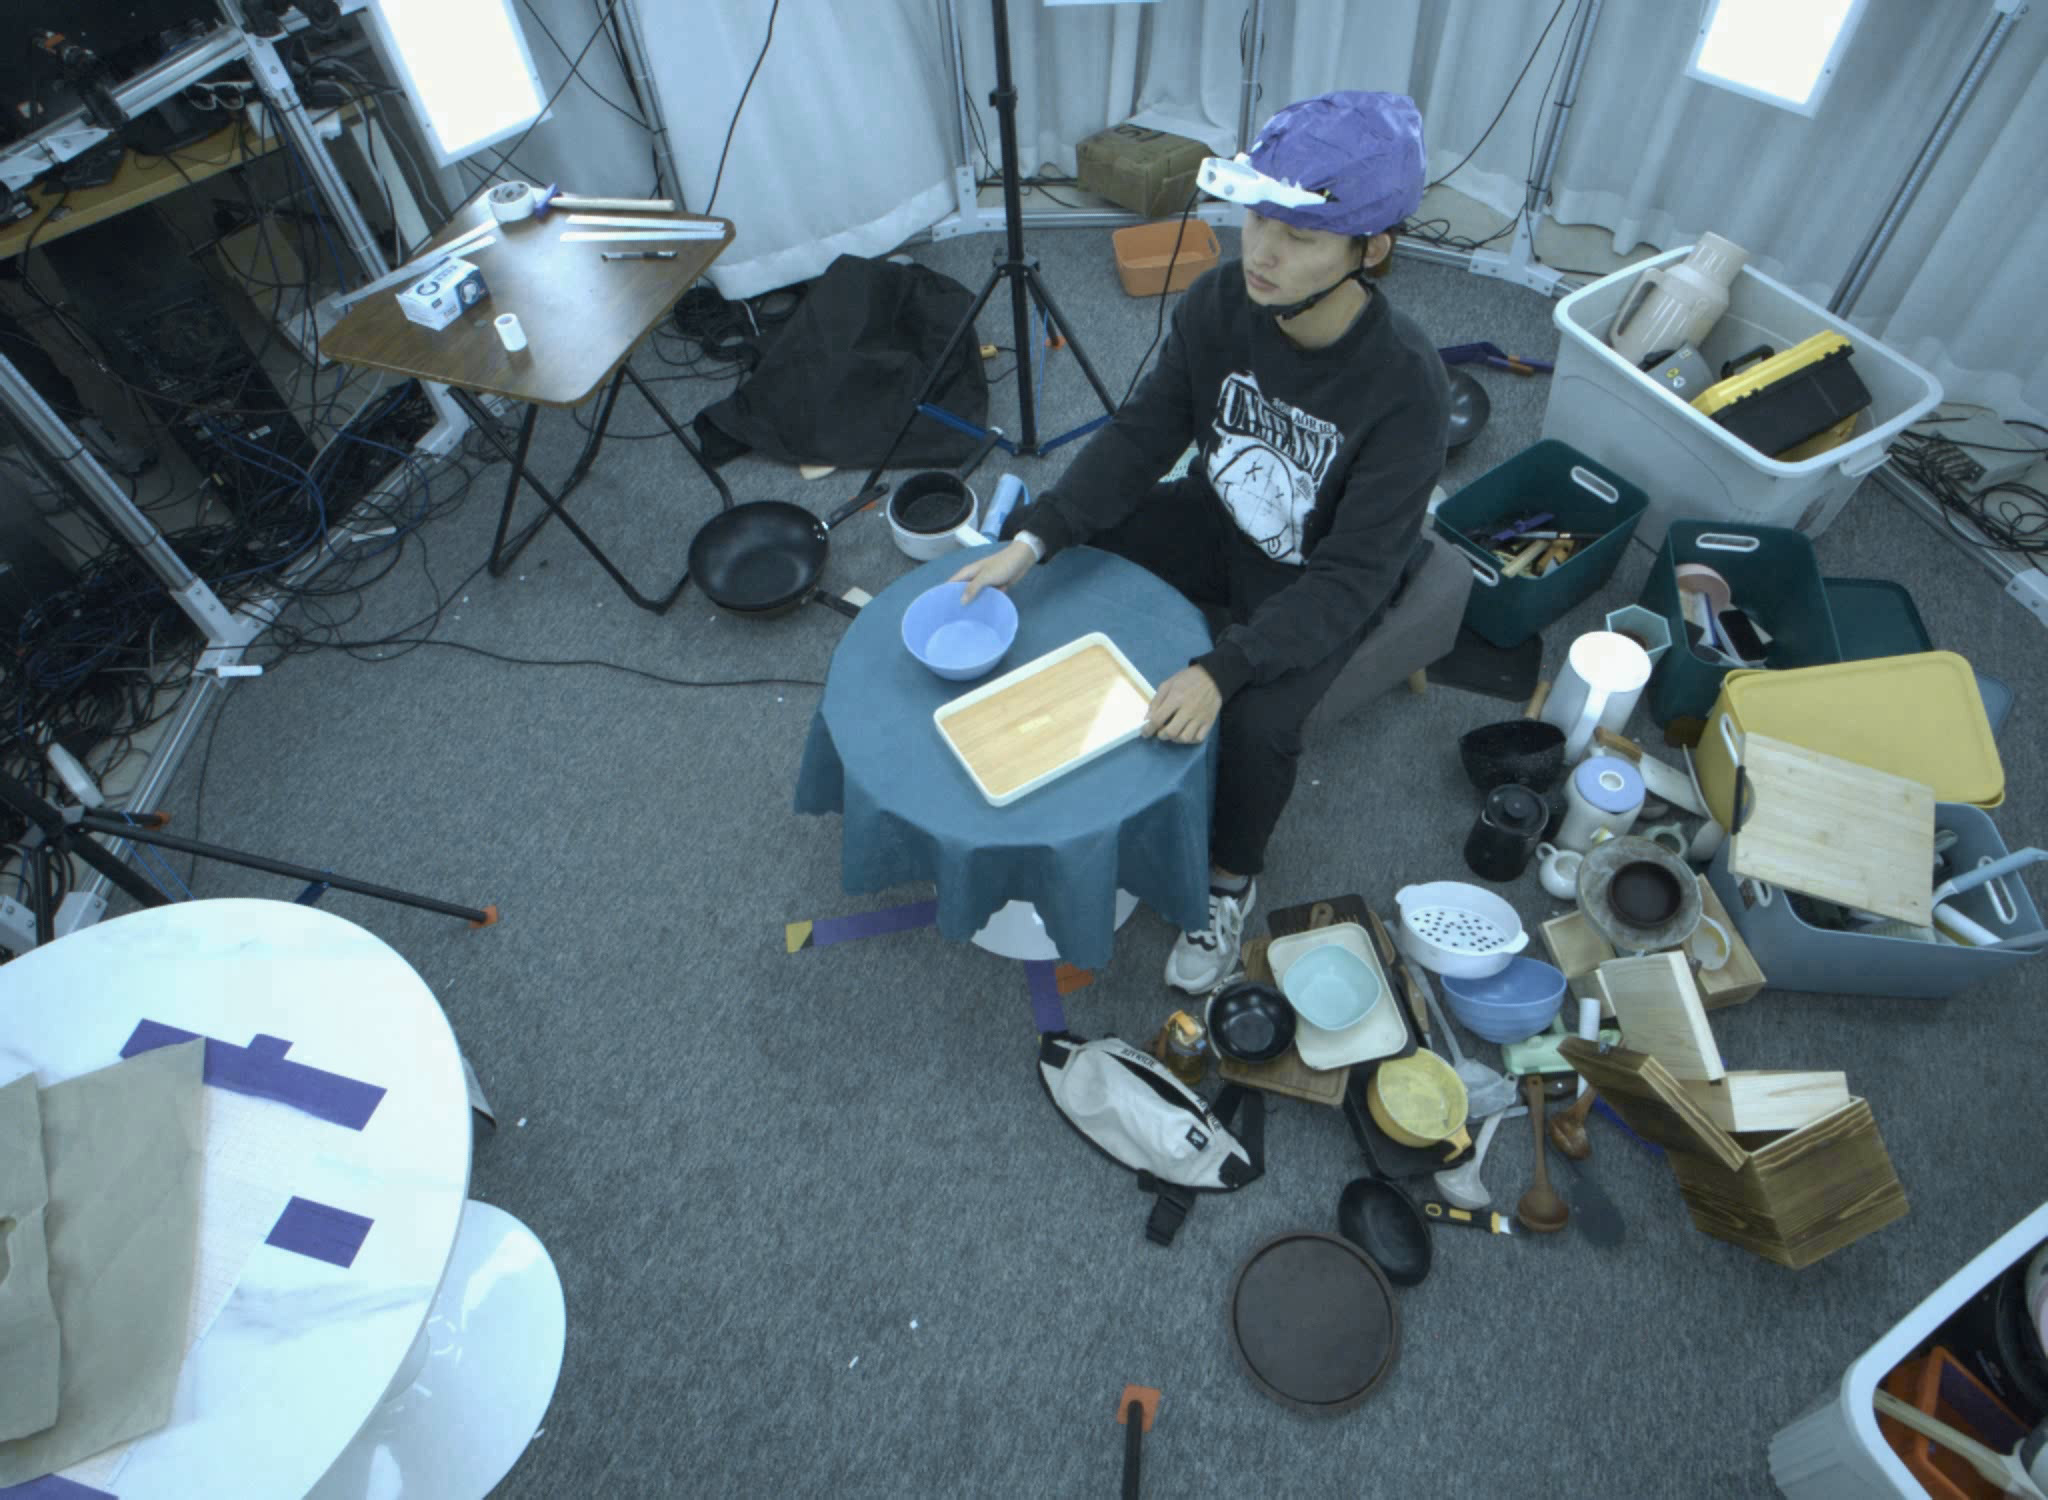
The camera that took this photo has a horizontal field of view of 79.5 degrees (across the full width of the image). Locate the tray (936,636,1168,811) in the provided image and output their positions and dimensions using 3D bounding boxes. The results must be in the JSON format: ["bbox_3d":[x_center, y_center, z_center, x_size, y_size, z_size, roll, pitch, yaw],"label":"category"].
[{"bbox_3d":[0.041,-0.044,1.812,0.302,0.028,0.188,-27,58,-16],"label":"tray"}]

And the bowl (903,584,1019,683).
[{"bbox_3d":[-0.094,-0.168,1.875,0.176,0.071,0.174,0,56,1],"label":"bowl"}]
